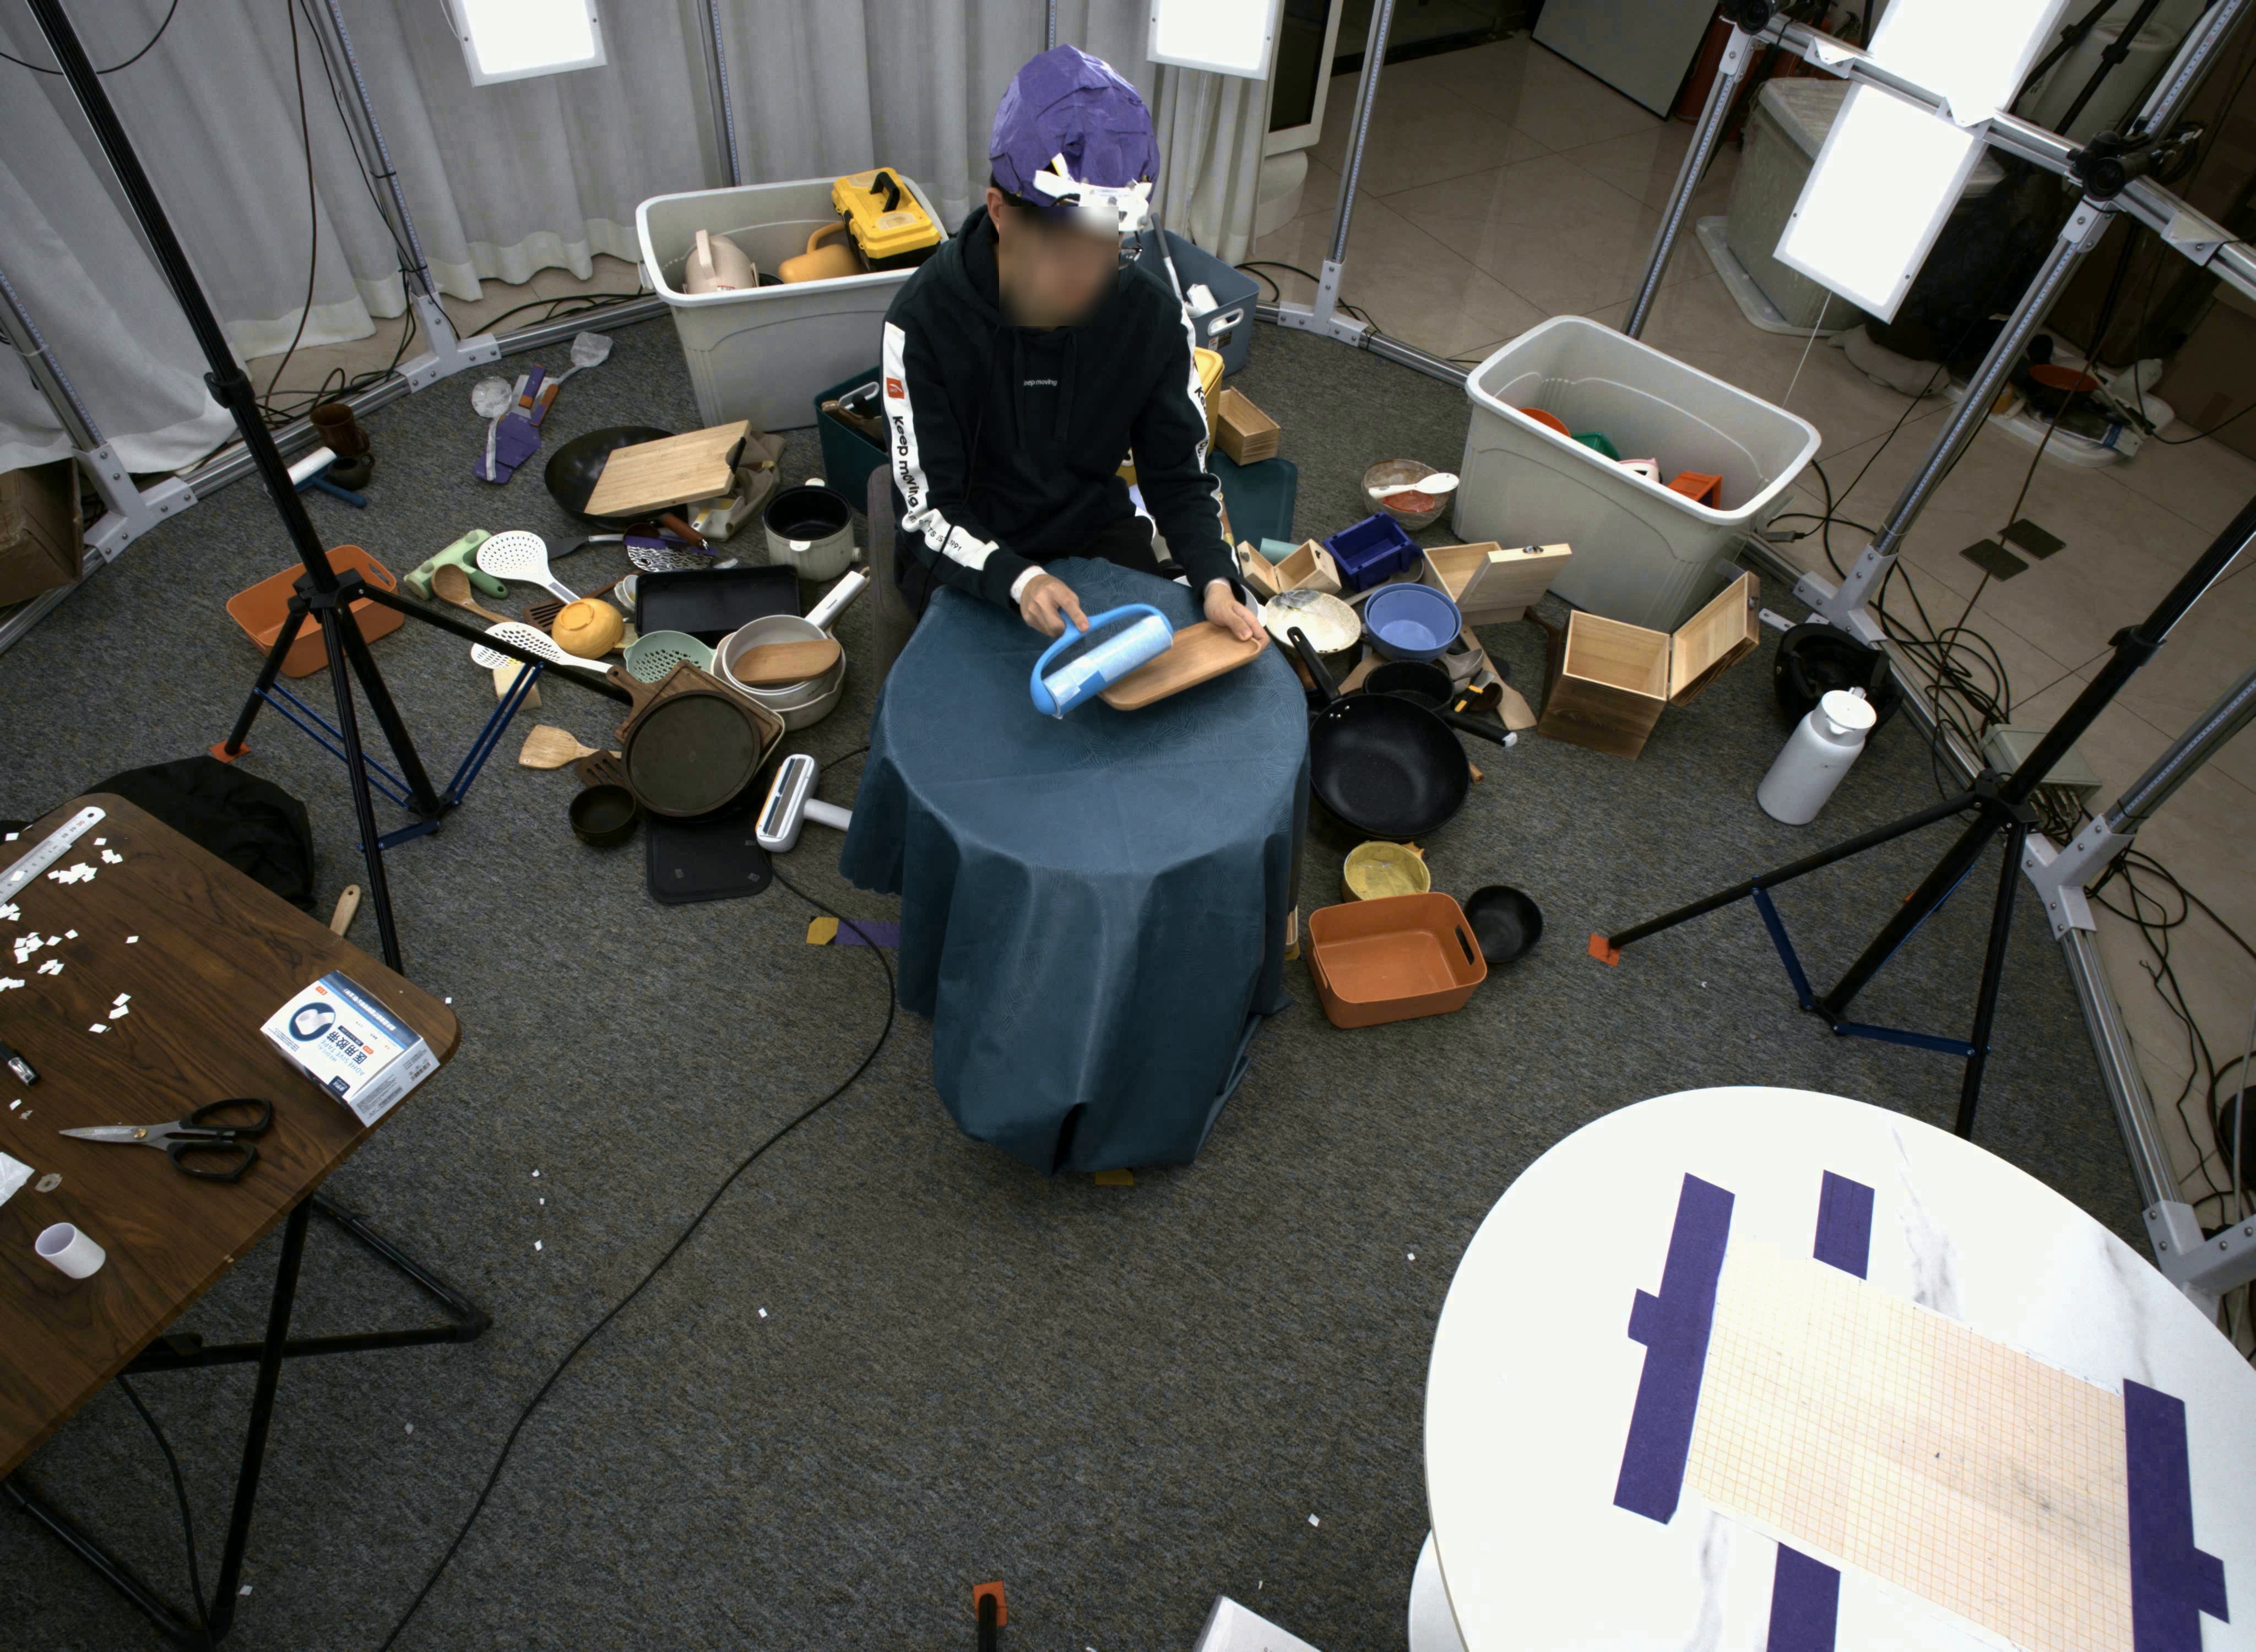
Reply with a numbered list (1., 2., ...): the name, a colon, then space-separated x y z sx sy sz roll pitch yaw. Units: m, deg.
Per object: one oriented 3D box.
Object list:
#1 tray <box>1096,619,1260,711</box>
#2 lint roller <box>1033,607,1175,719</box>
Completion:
1. tray: 0.060 -0.229 1.813 0.251 0.022 0.133 -24 38 -21
2. lint roller: -0.067 -0.255 1.773 0.230 0.066 0.183 -36 62 -21
